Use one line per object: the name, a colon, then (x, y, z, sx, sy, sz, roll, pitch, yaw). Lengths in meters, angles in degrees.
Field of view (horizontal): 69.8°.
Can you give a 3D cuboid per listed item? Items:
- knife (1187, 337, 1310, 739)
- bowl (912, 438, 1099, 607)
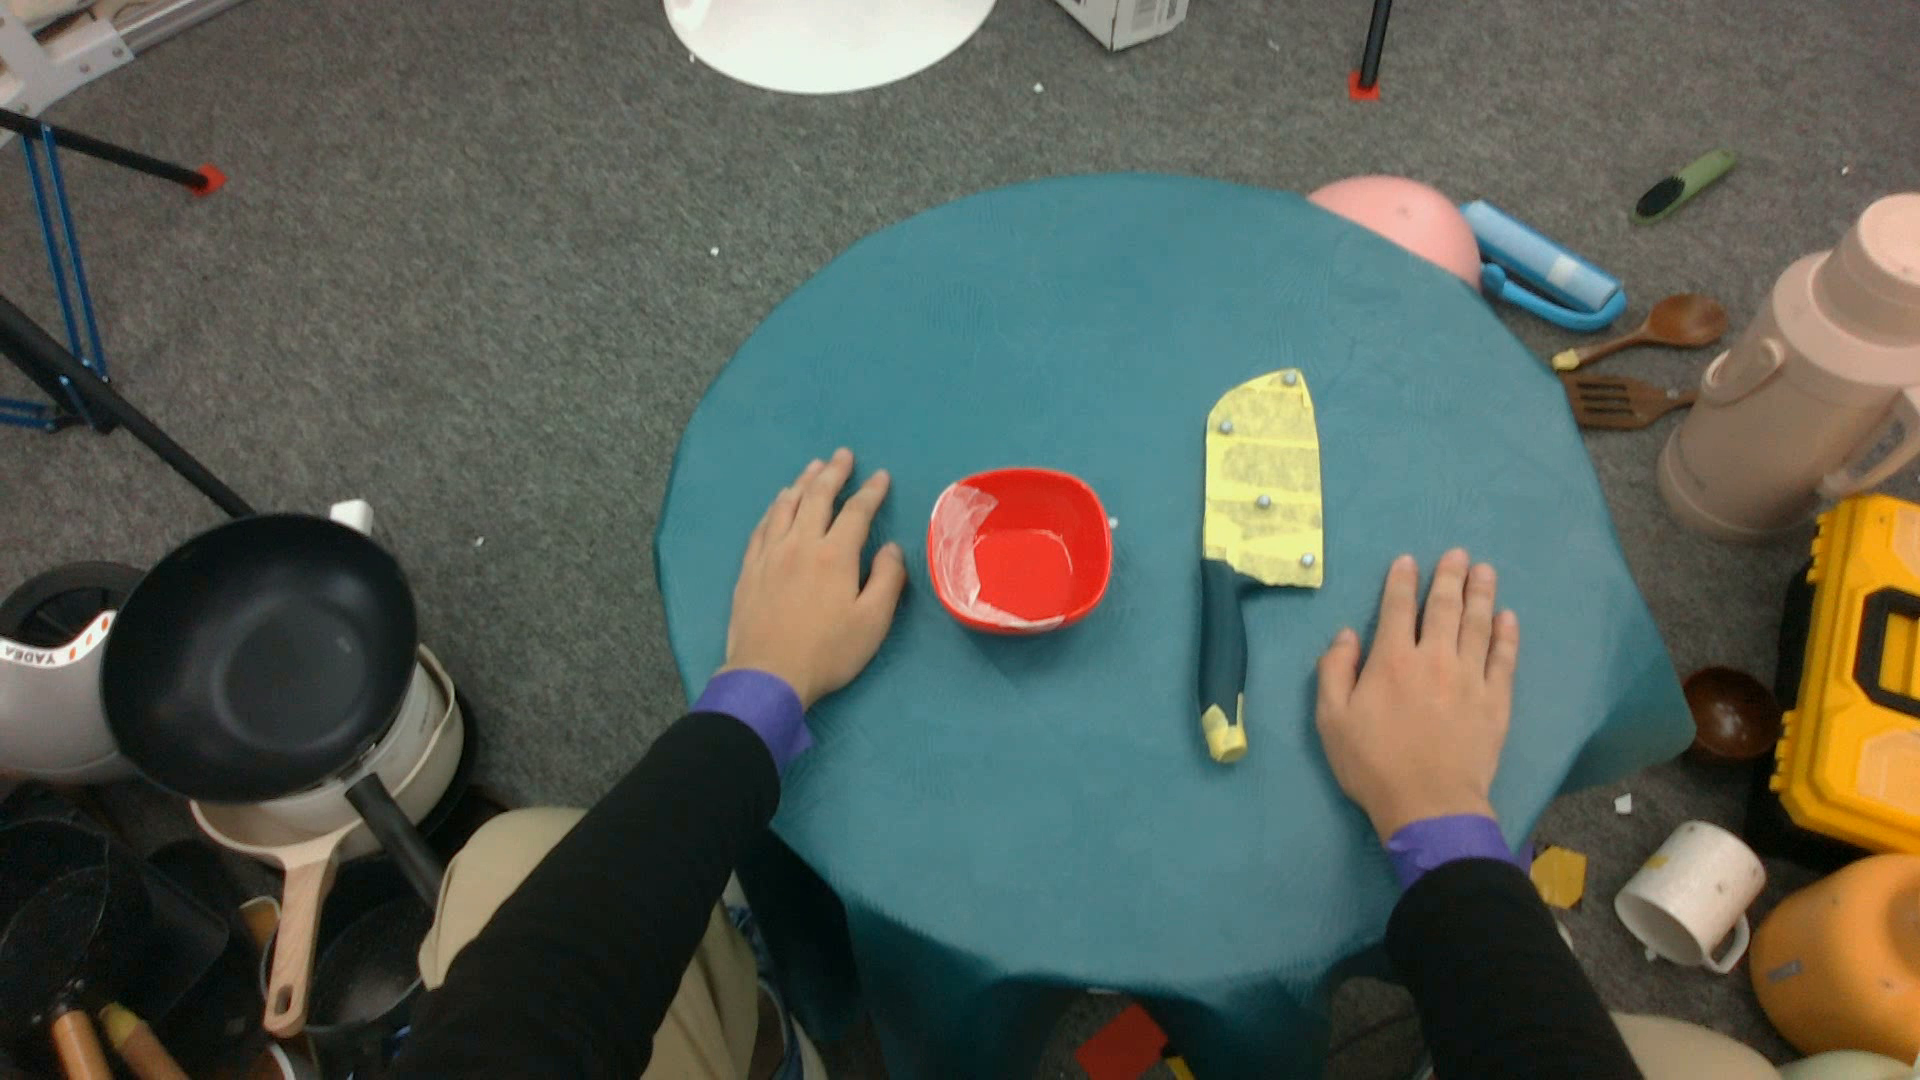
knife: (0.176, -0.012, 0.853, 0.081, 0.027, 0.291, 6, 61, 8)
bowl: (0.027, -0.002, 0.833, 0.119, 0.051, 0.119, 0, 60, 1)
